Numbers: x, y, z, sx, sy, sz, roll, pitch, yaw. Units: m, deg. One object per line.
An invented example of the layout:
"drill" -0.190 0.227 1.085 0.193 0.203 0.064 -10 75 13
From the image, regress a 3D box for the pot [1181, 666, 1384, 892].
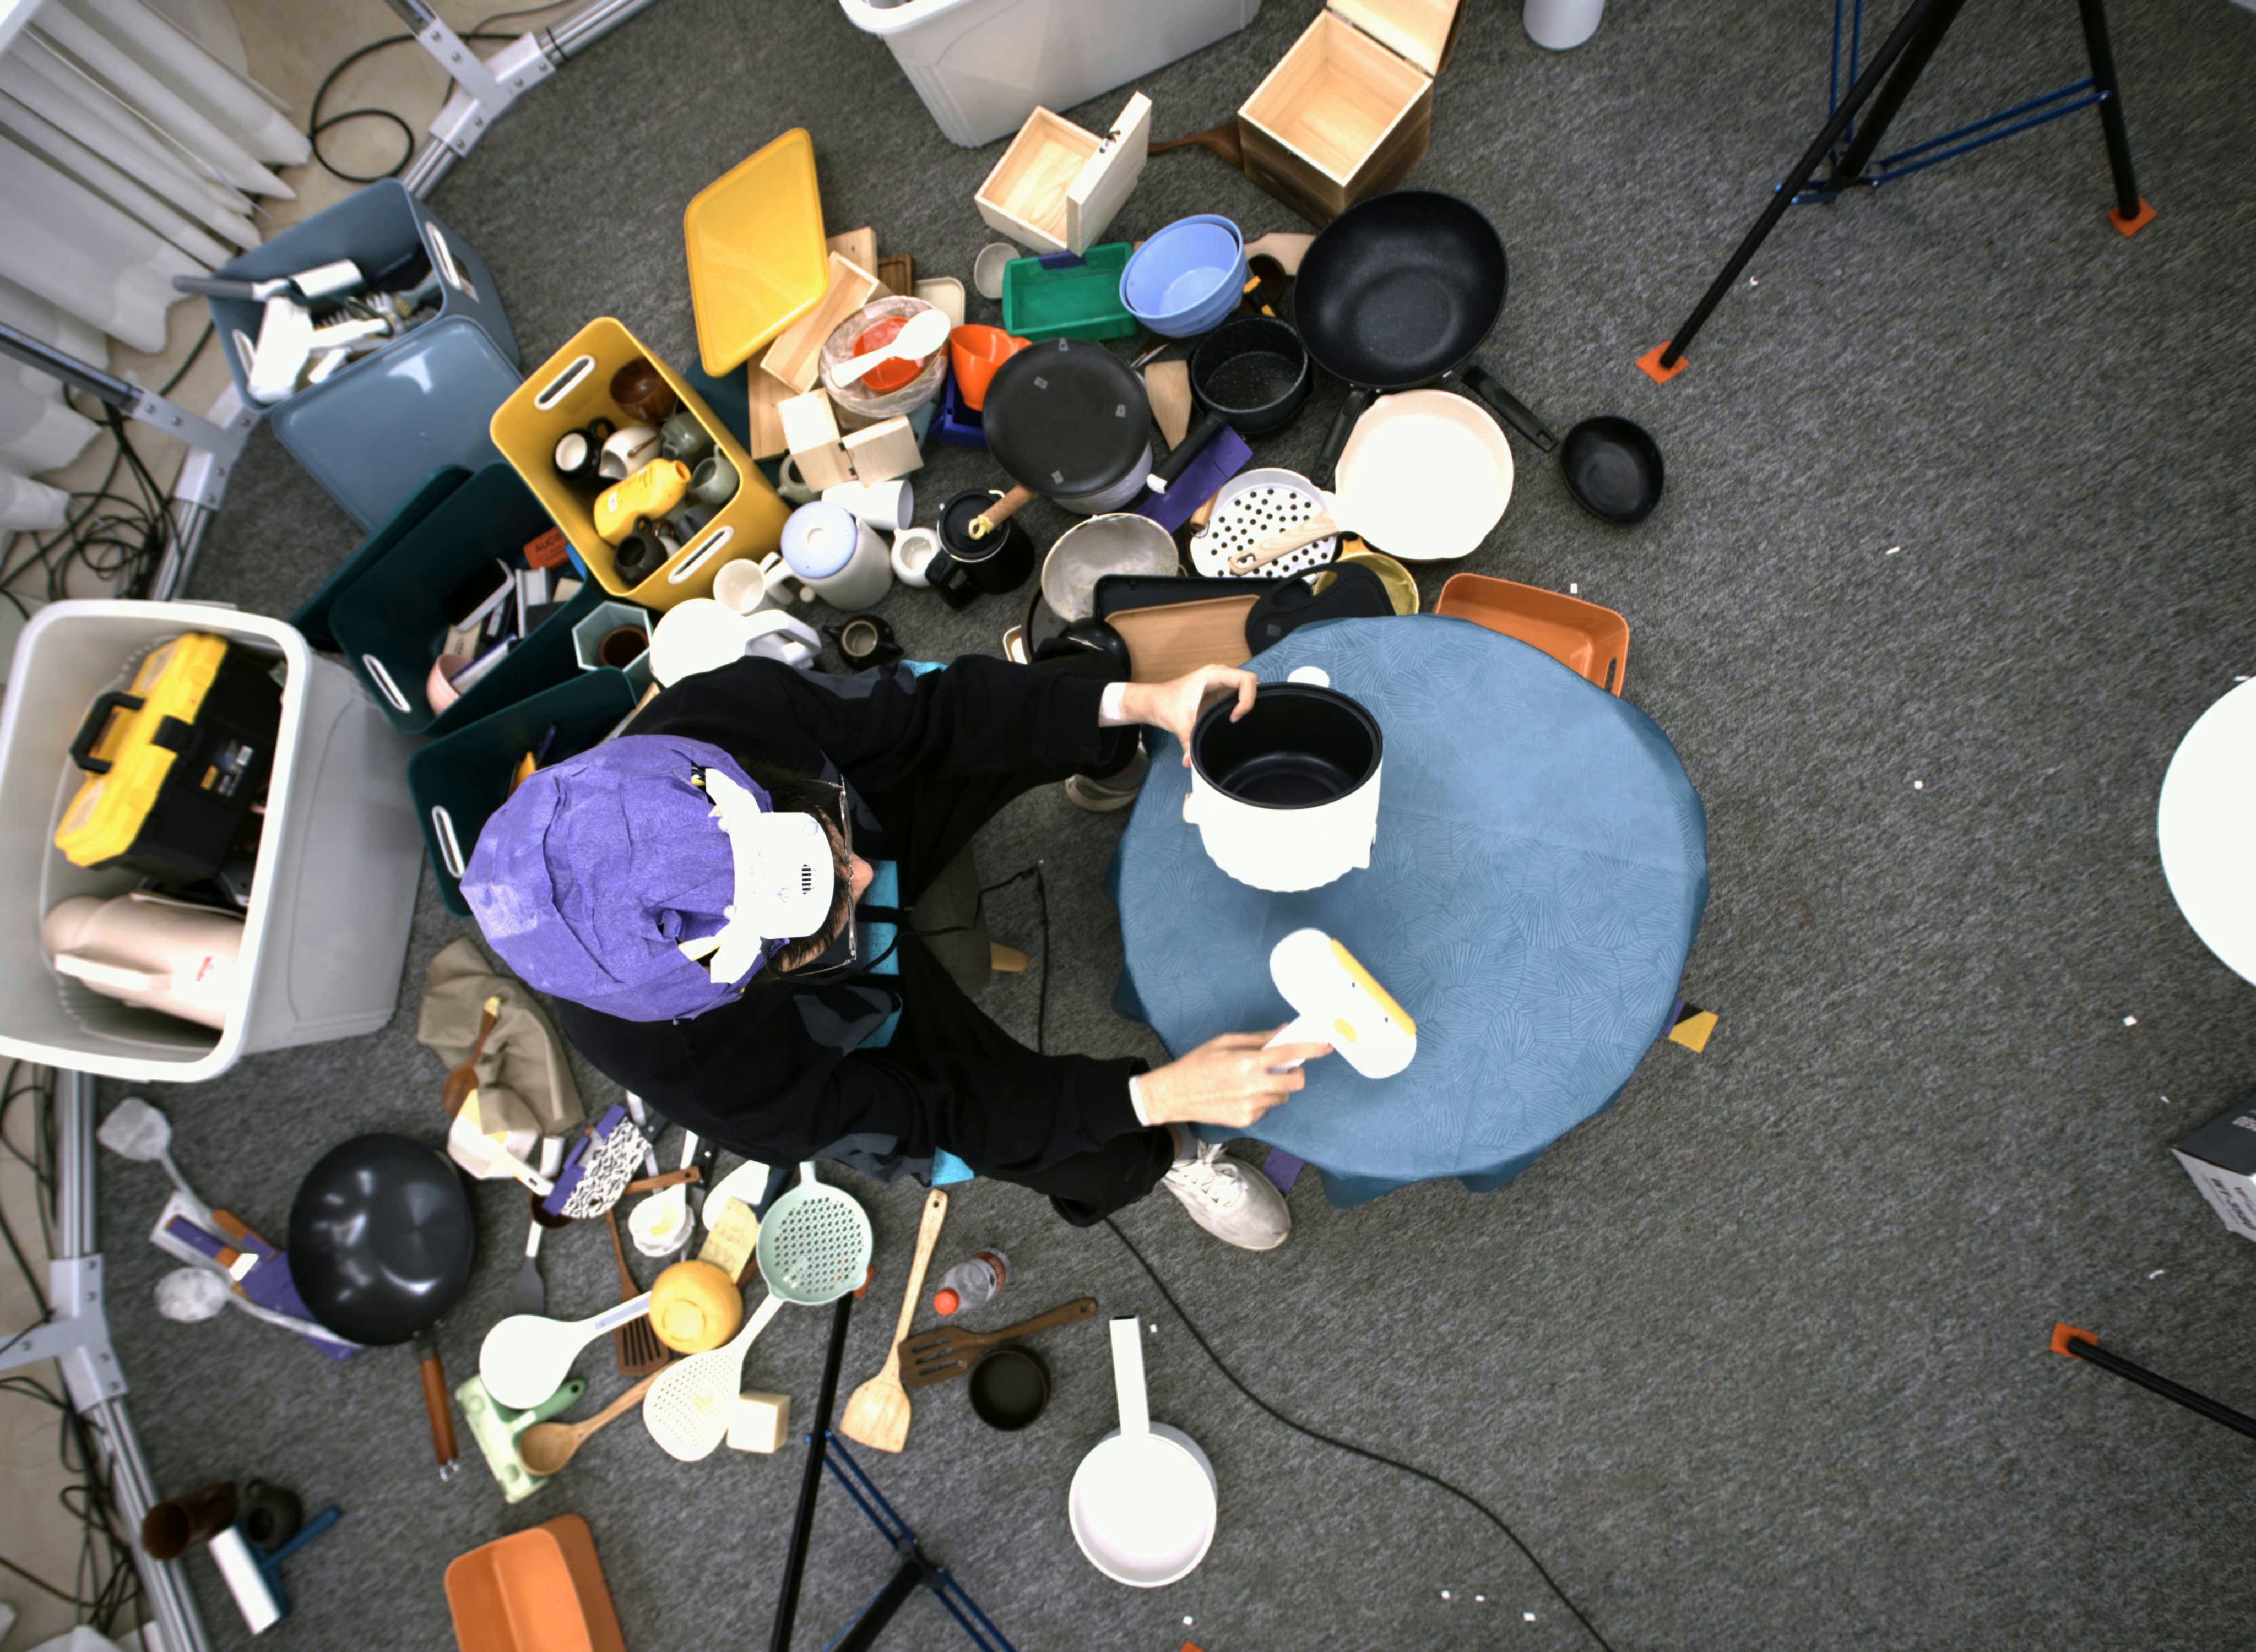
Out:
"pot" 0.146 -0.032 1.330 0.191 0.146 0.234 11 47 13

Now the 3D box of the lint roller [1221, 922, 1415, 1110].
"lint roller" 0.166 0.206 1.368 0.195 0.072 0.194 -40 121 21
